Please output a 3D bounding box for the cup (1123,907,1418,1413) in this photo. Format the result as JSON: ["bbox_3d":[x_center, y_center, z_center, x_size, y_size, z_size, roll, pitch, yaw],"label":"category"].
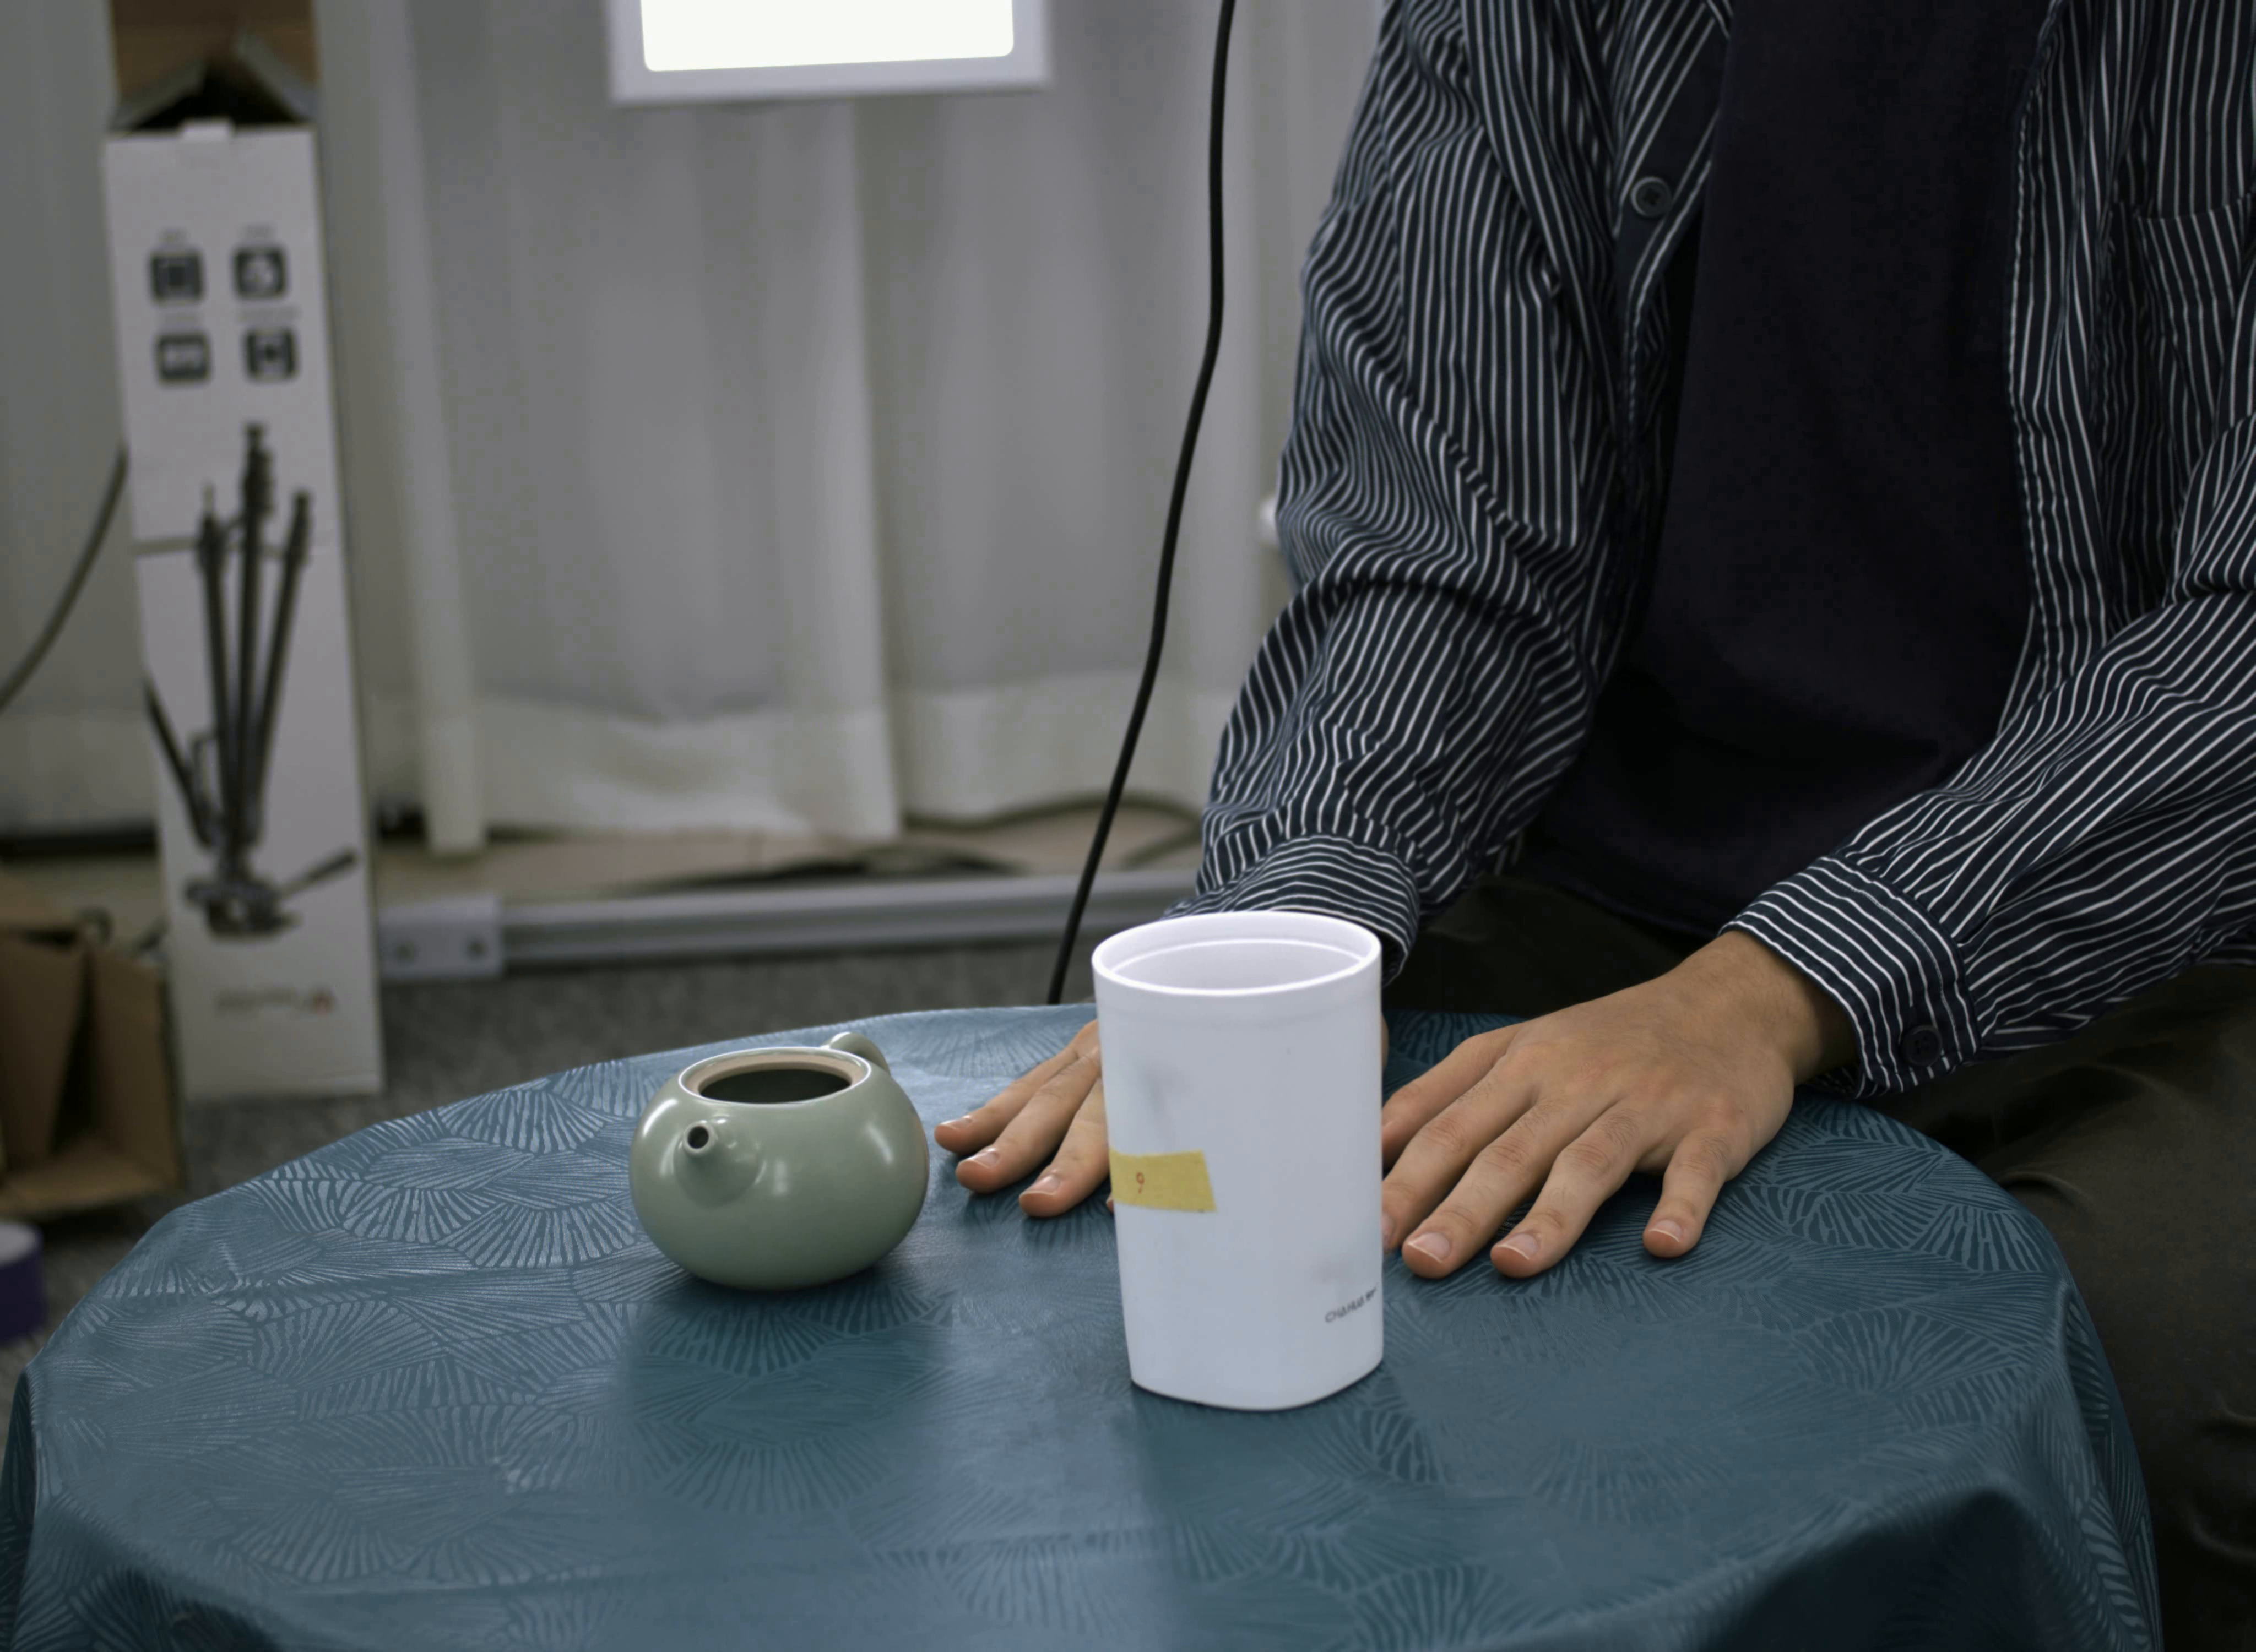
[{"bbox_3d":[0.042,0.094,1.533,0.081,0.125,0.082,-3,14,1],"label":"cup"}]

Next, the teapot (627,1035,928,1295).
[{"bbox_3d":[-0.102,0.103,1.669,0.091,0.061,0.128,3,15,28],"label":"teapot"}]
